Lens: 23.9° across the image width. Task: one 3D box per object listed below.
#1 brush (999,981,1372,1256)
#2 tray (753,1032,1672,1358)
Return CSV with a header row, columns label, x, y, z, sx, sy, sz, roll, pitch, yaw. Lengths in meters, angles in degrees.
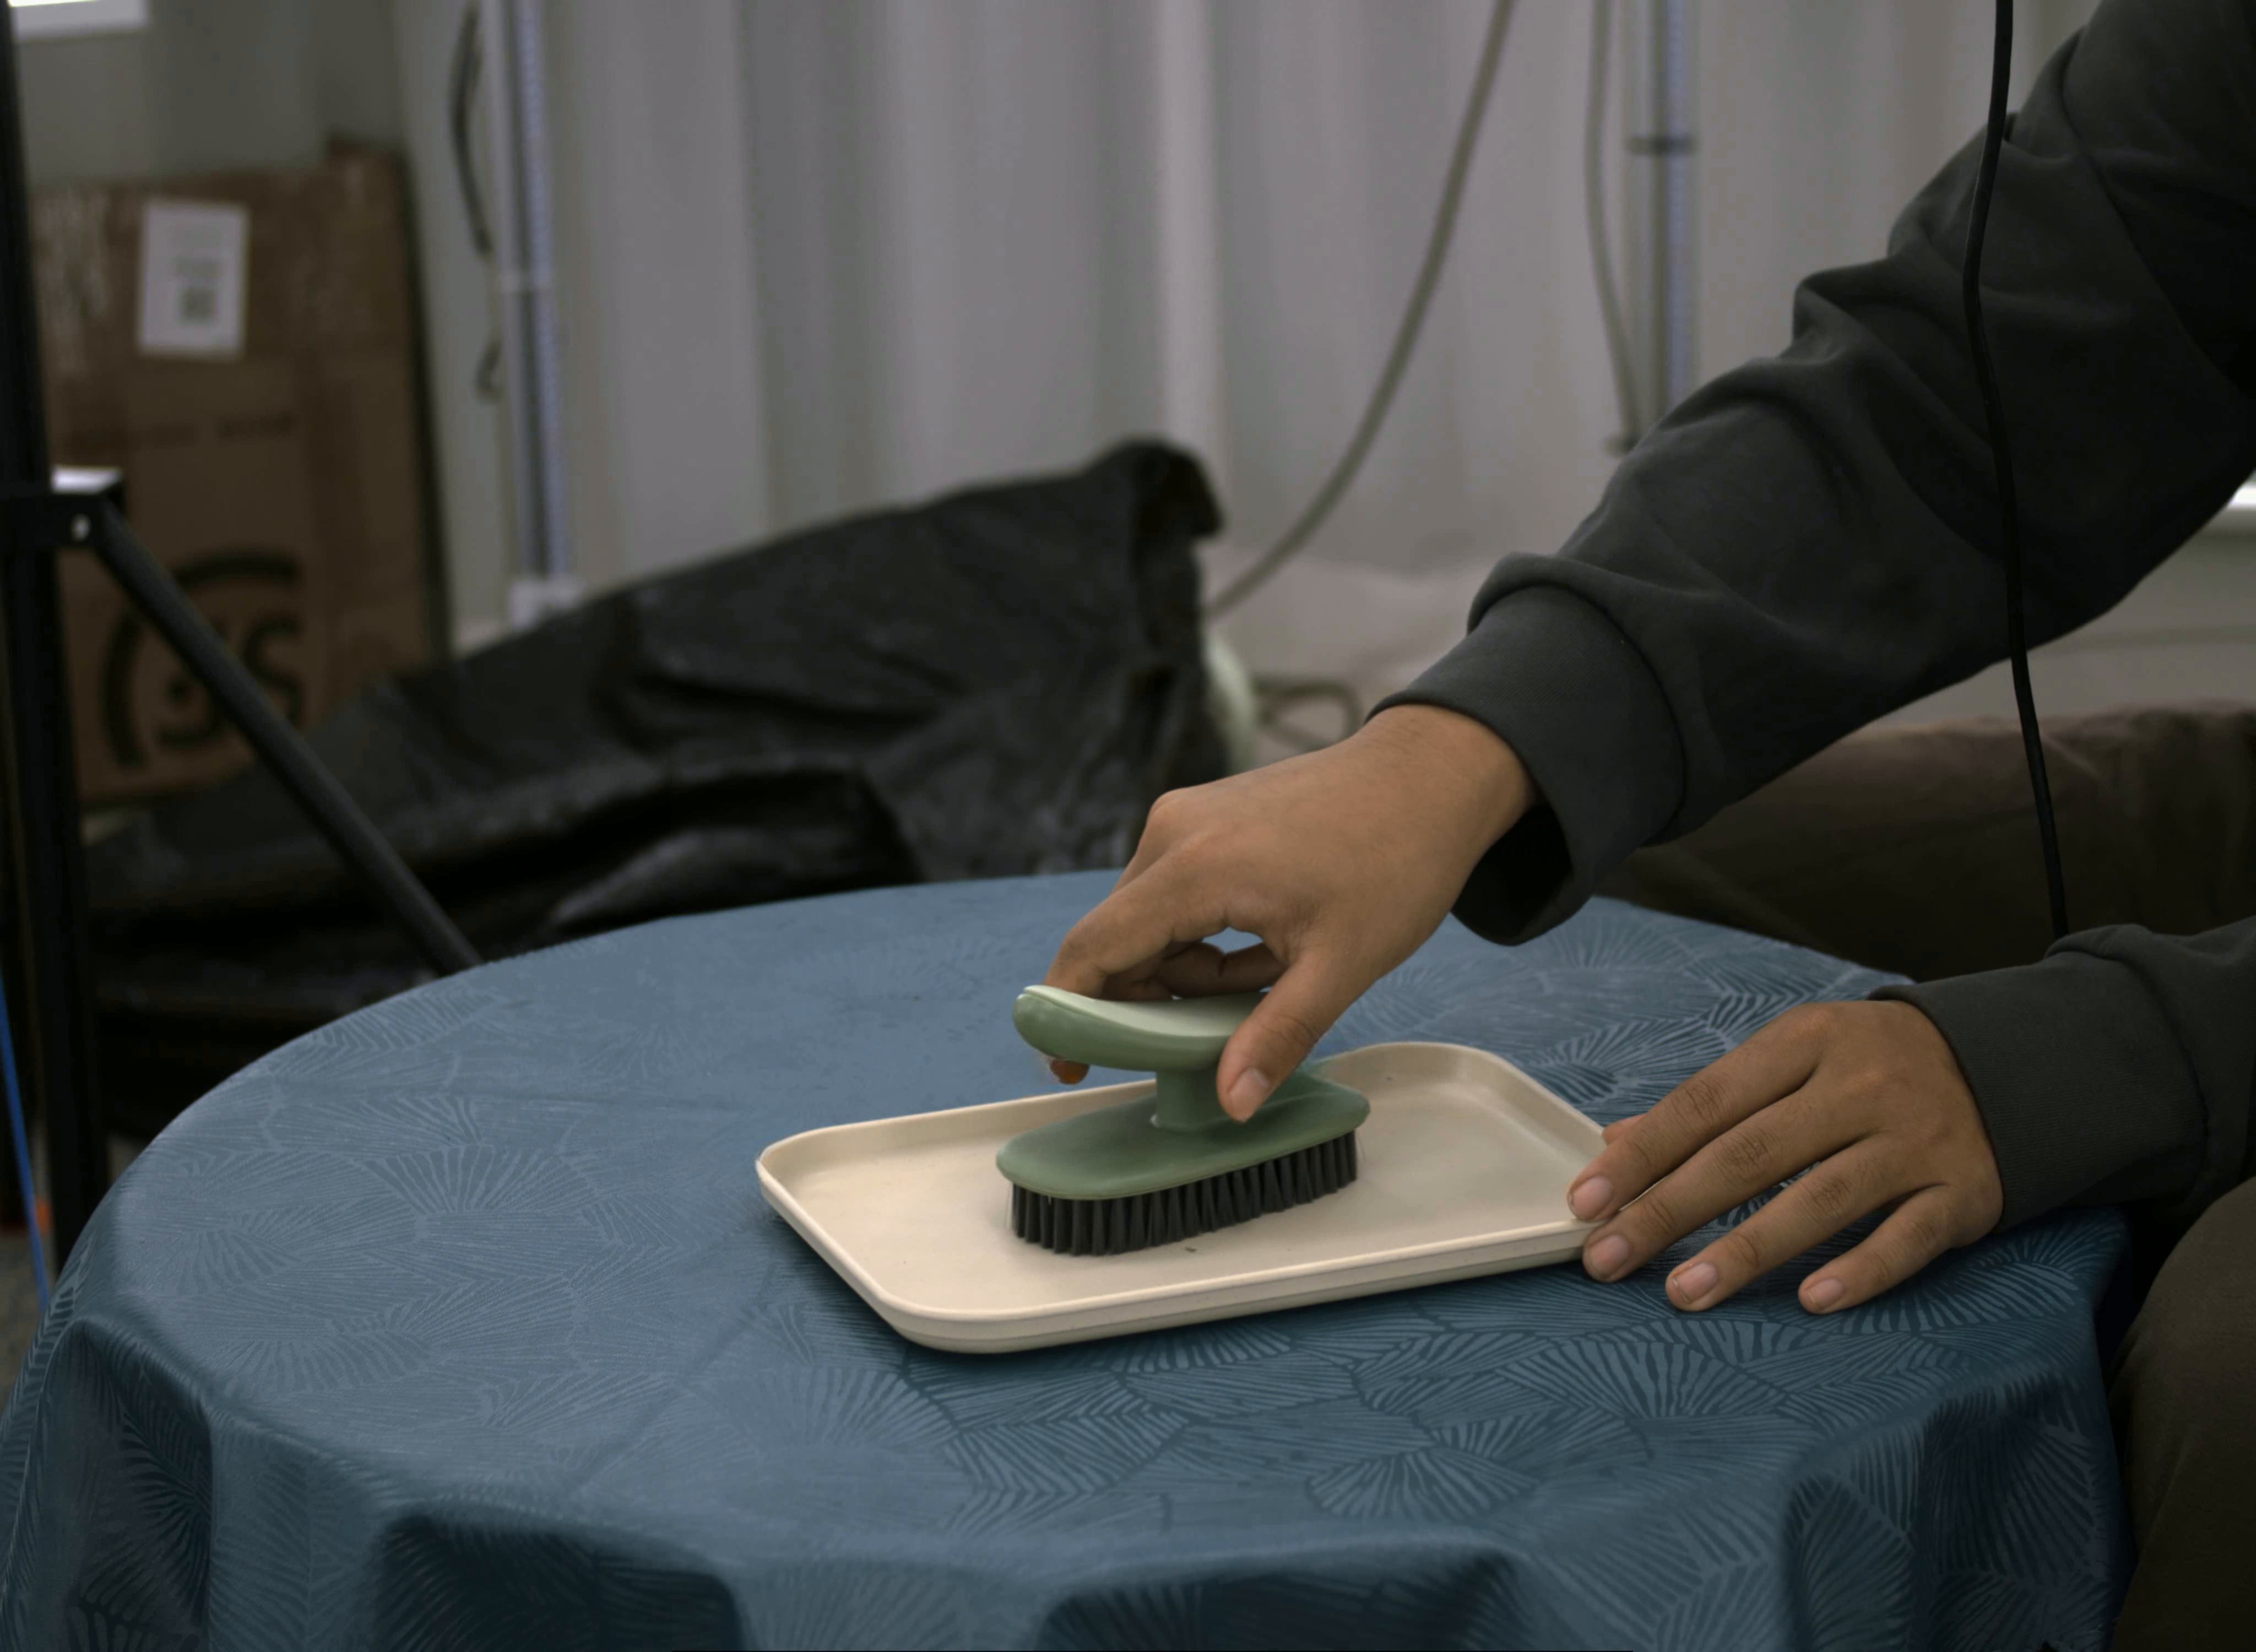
label,x,y,z,sx,sy,sz,roll,pitch,yaw
brush,0.016,0.084,1.532,0.120,0.076,0.061,3,9,-39
tray,0.023,0.106,1.527,0.235,0.017,0.174,-8,18,-18
